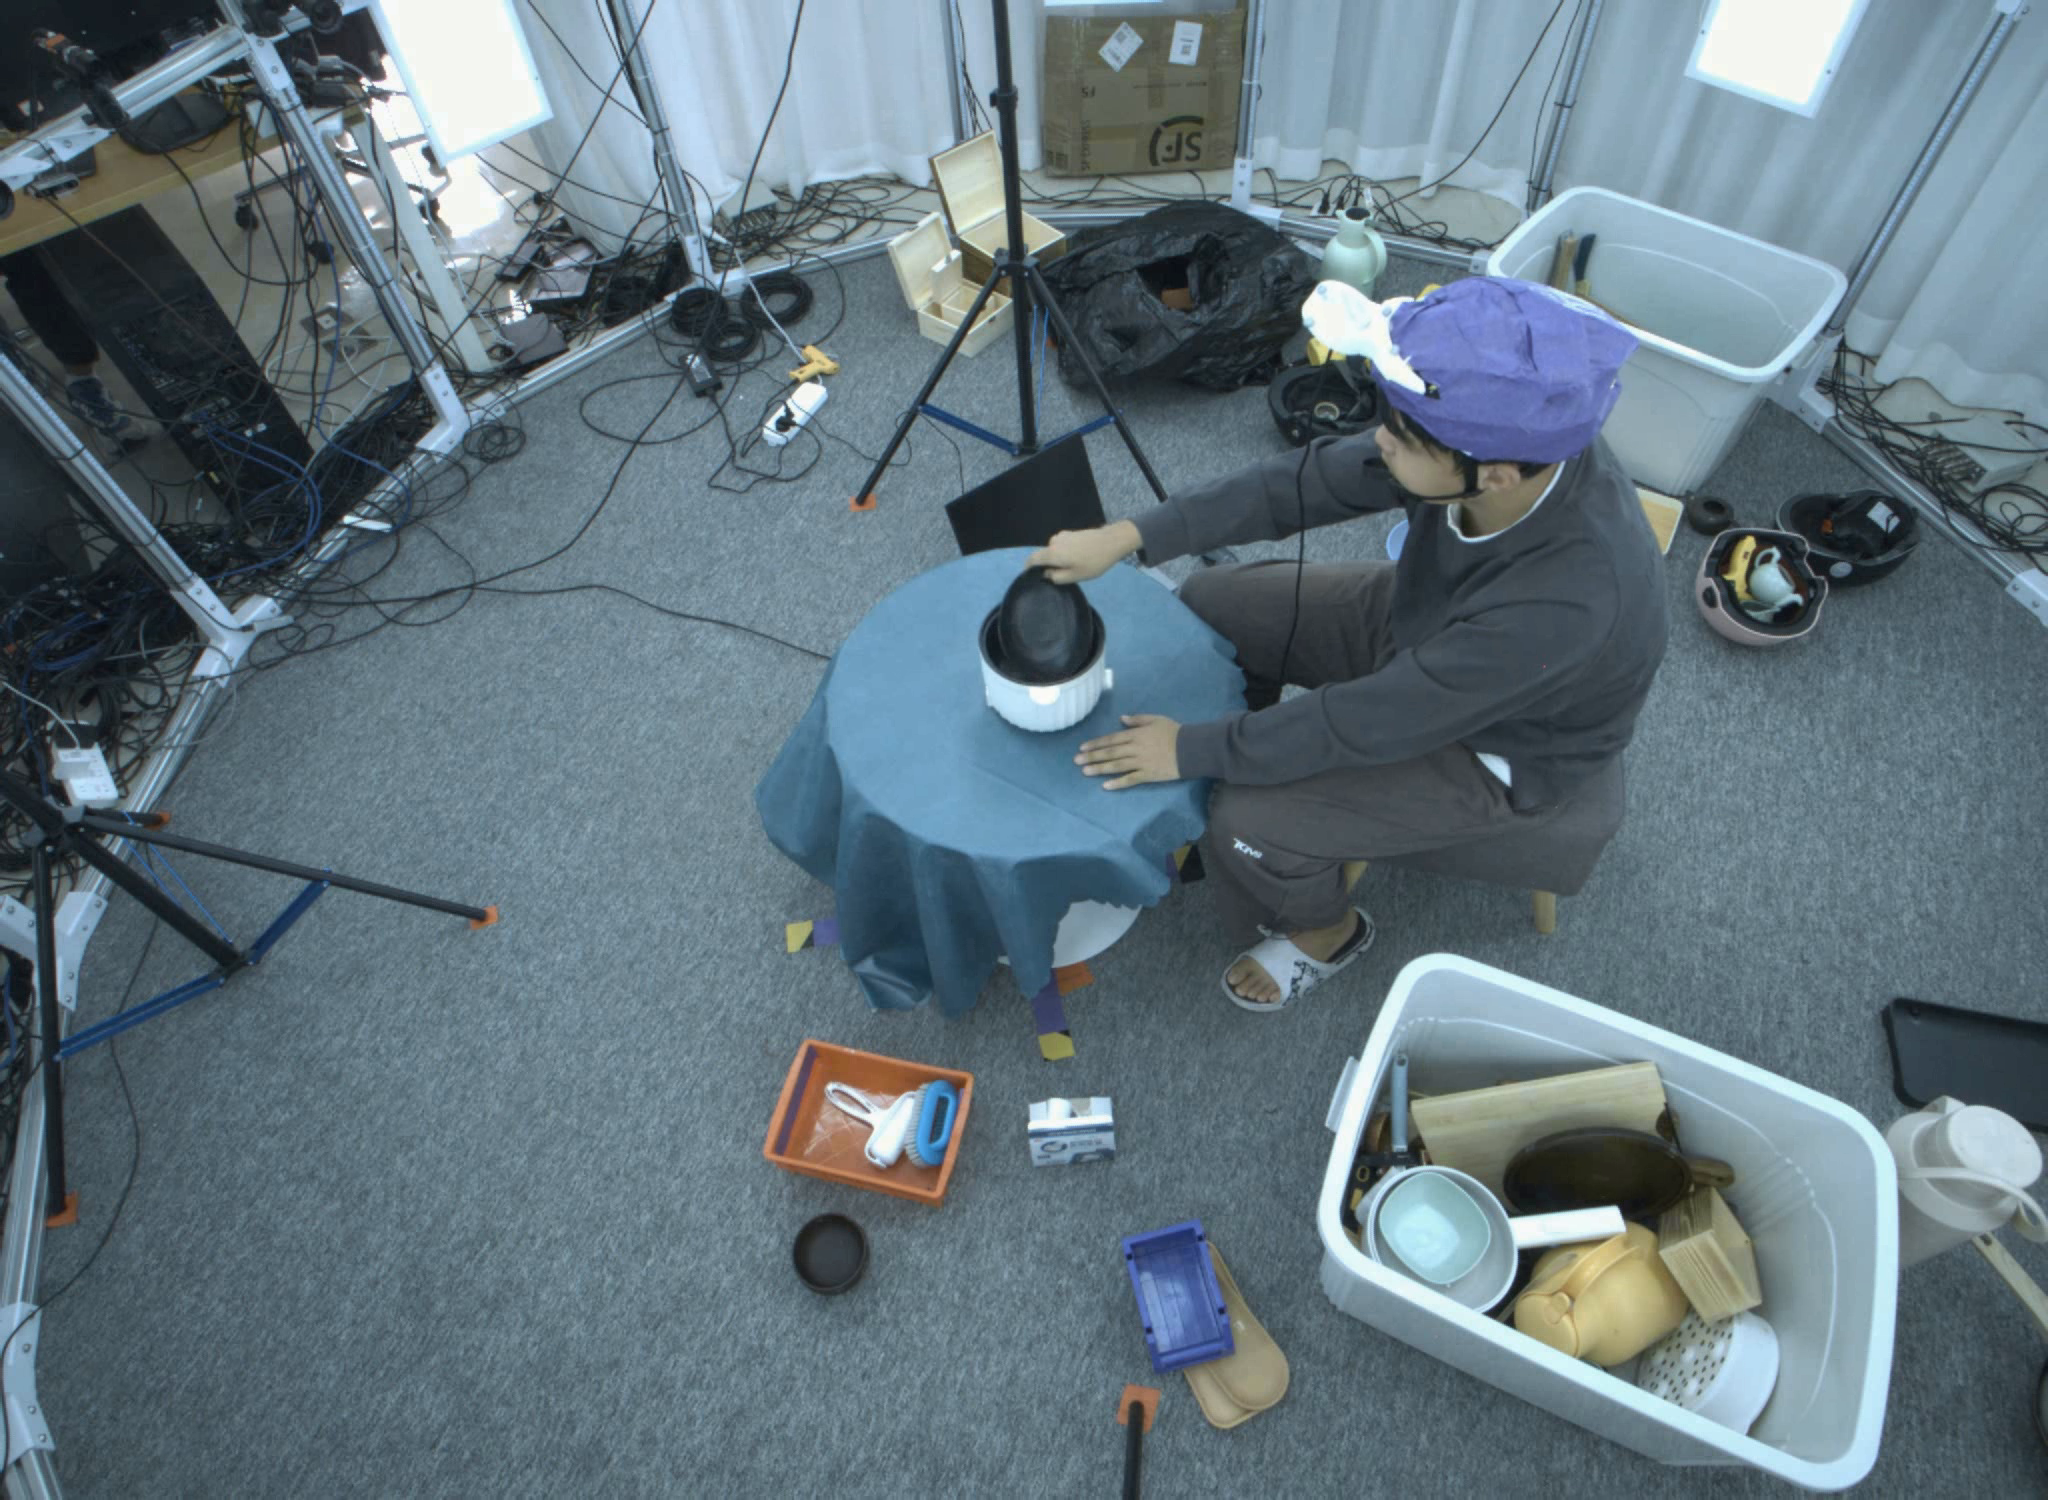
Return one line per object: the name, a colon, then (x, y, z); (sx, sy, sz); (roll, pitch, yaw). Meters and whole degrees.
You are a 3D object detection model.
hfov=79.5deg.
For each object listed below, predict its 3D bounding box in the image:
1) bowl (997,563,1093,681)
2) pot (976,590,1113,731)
bowl: (0.025, -0.183, 1.760); (0.138, 0.171, 0.066); (-9, 14, -11)
pot: (0.032, -0.125, 1.790); (0.190, 0.144, 0.237); (-5, 56, 2)
